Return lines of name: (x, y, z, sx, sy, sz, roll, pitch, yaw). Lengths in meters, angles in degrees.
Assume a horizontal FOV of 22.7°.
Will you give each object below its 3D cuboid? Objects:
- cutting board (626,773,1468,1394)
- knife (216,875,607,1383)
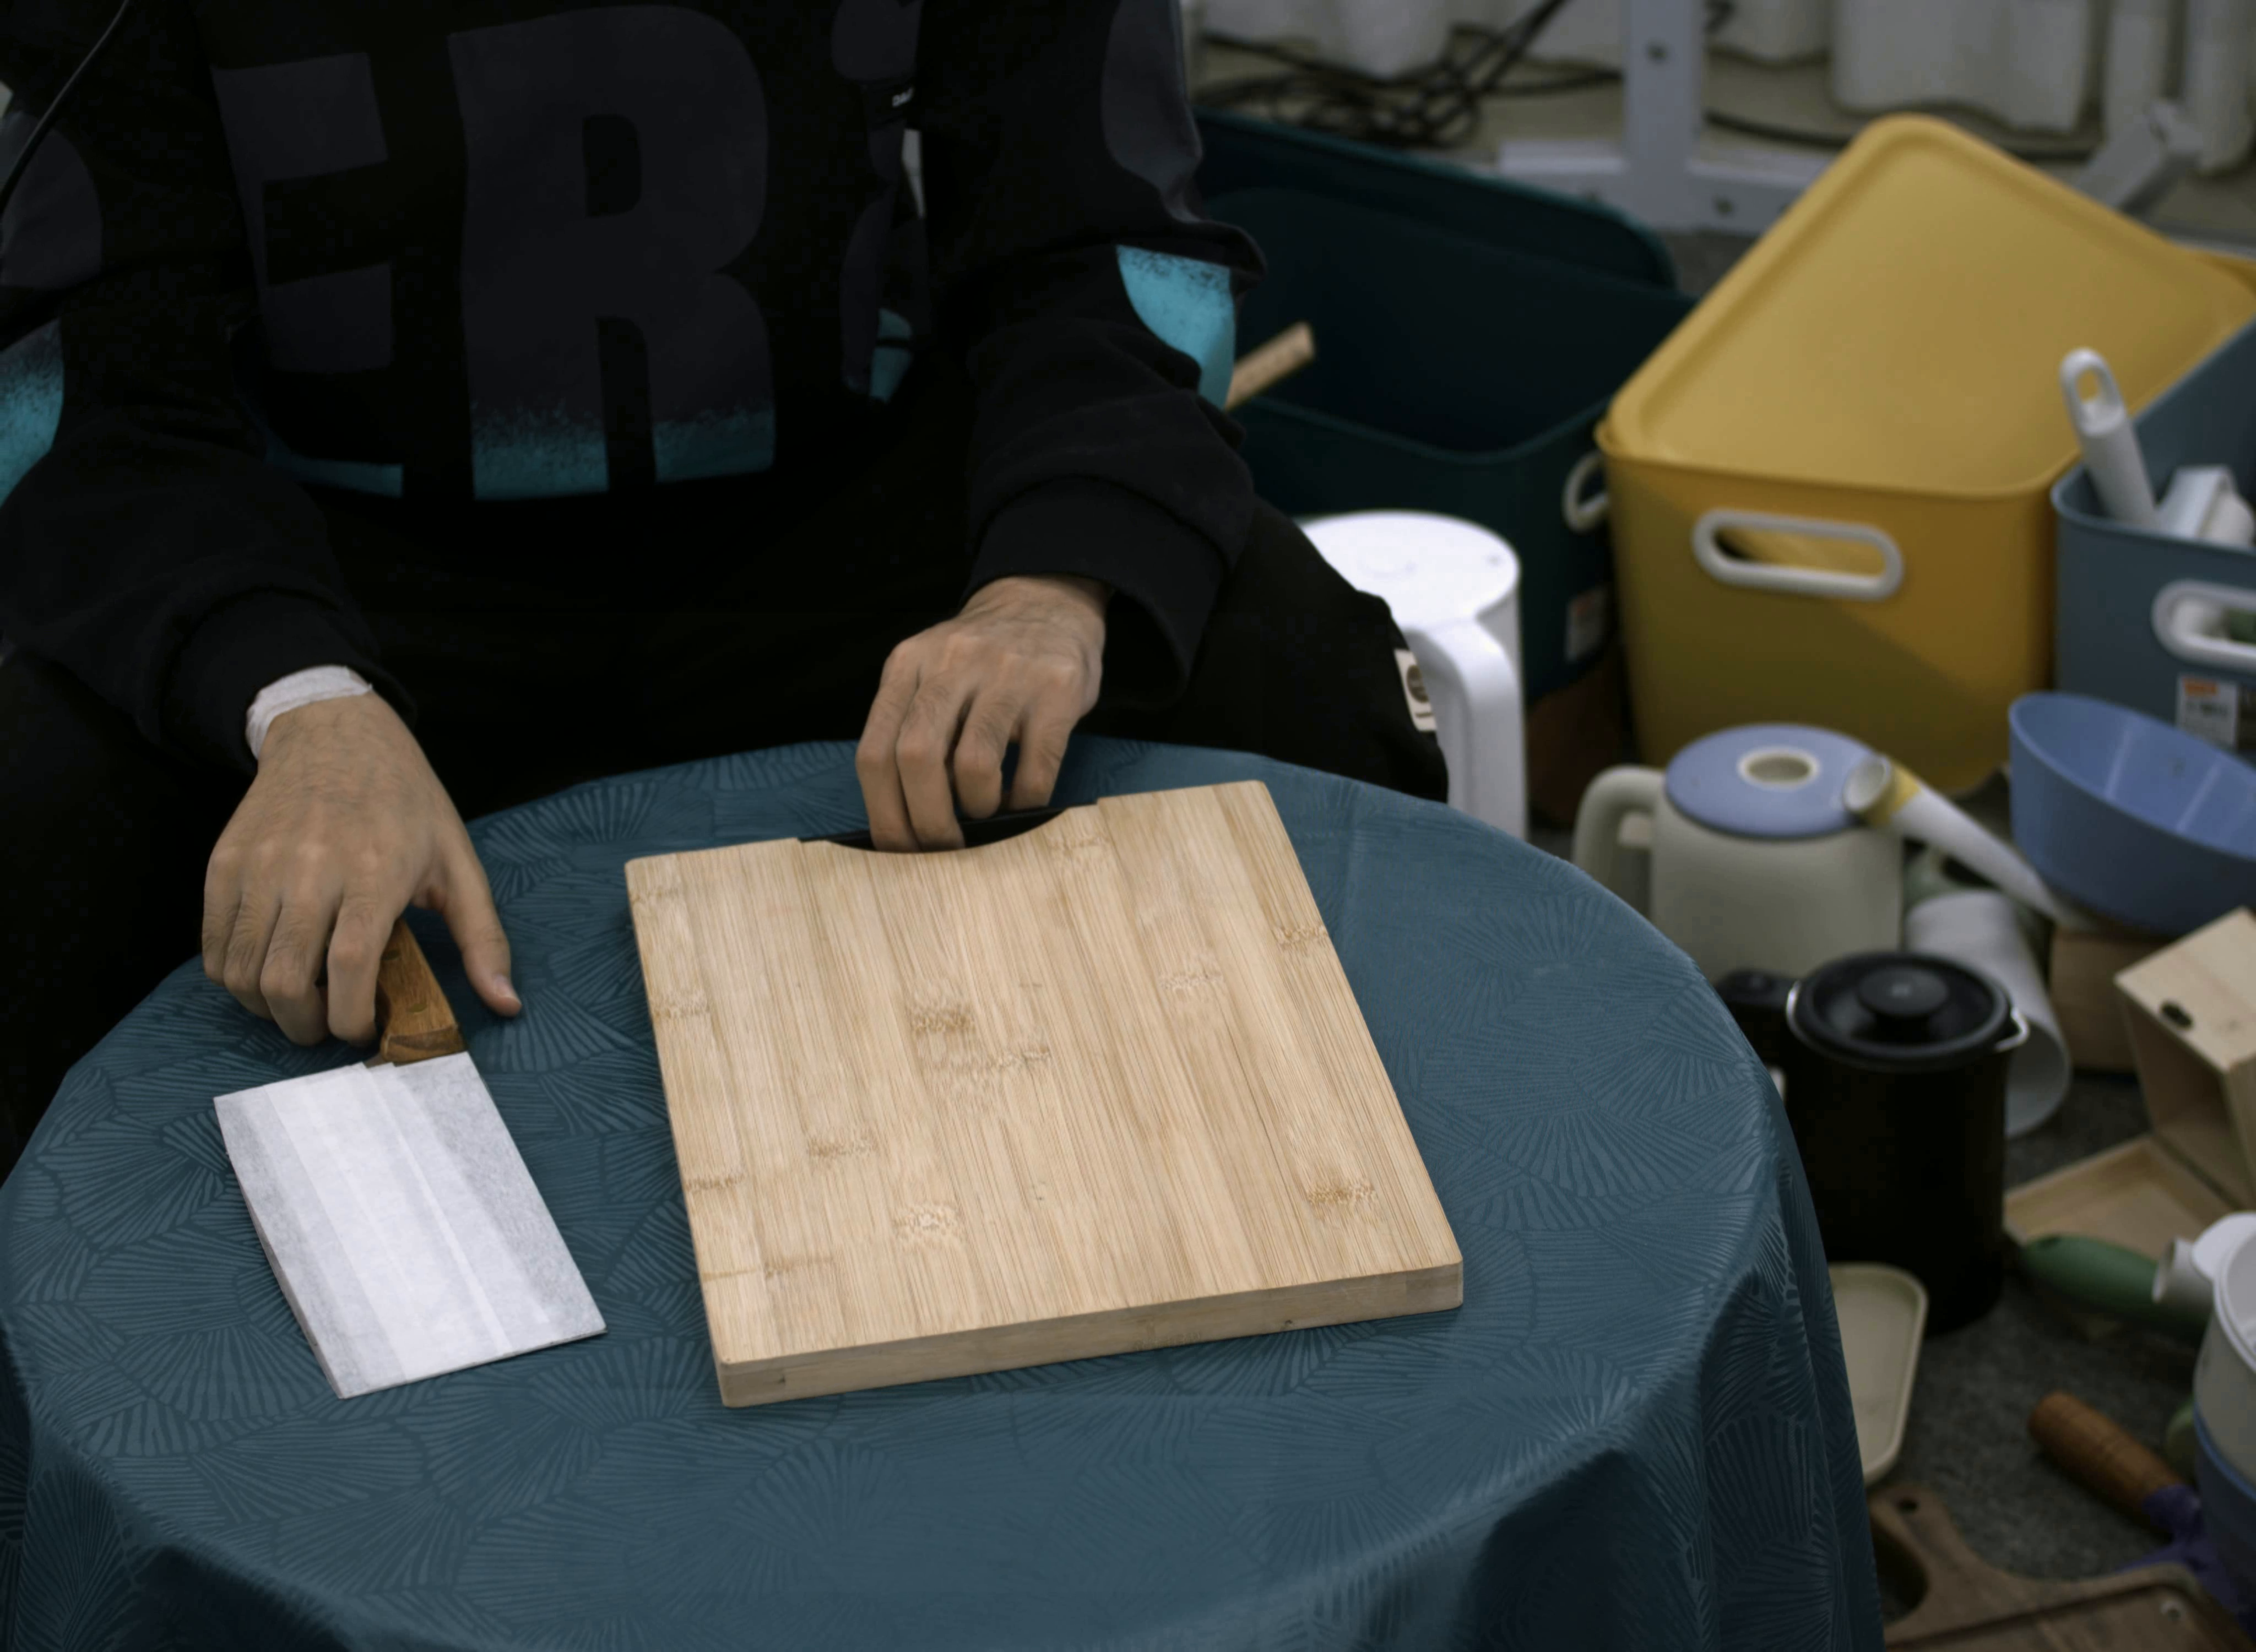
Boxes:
cutting board: (-0.038, 0.082, 1.924, 0.250, 0.023, 0.353, -7, 28, -8)
knife: (-0.259, 0.102, 1.909, 0.093, 0.021, 0.308, -13, 31, -16)
